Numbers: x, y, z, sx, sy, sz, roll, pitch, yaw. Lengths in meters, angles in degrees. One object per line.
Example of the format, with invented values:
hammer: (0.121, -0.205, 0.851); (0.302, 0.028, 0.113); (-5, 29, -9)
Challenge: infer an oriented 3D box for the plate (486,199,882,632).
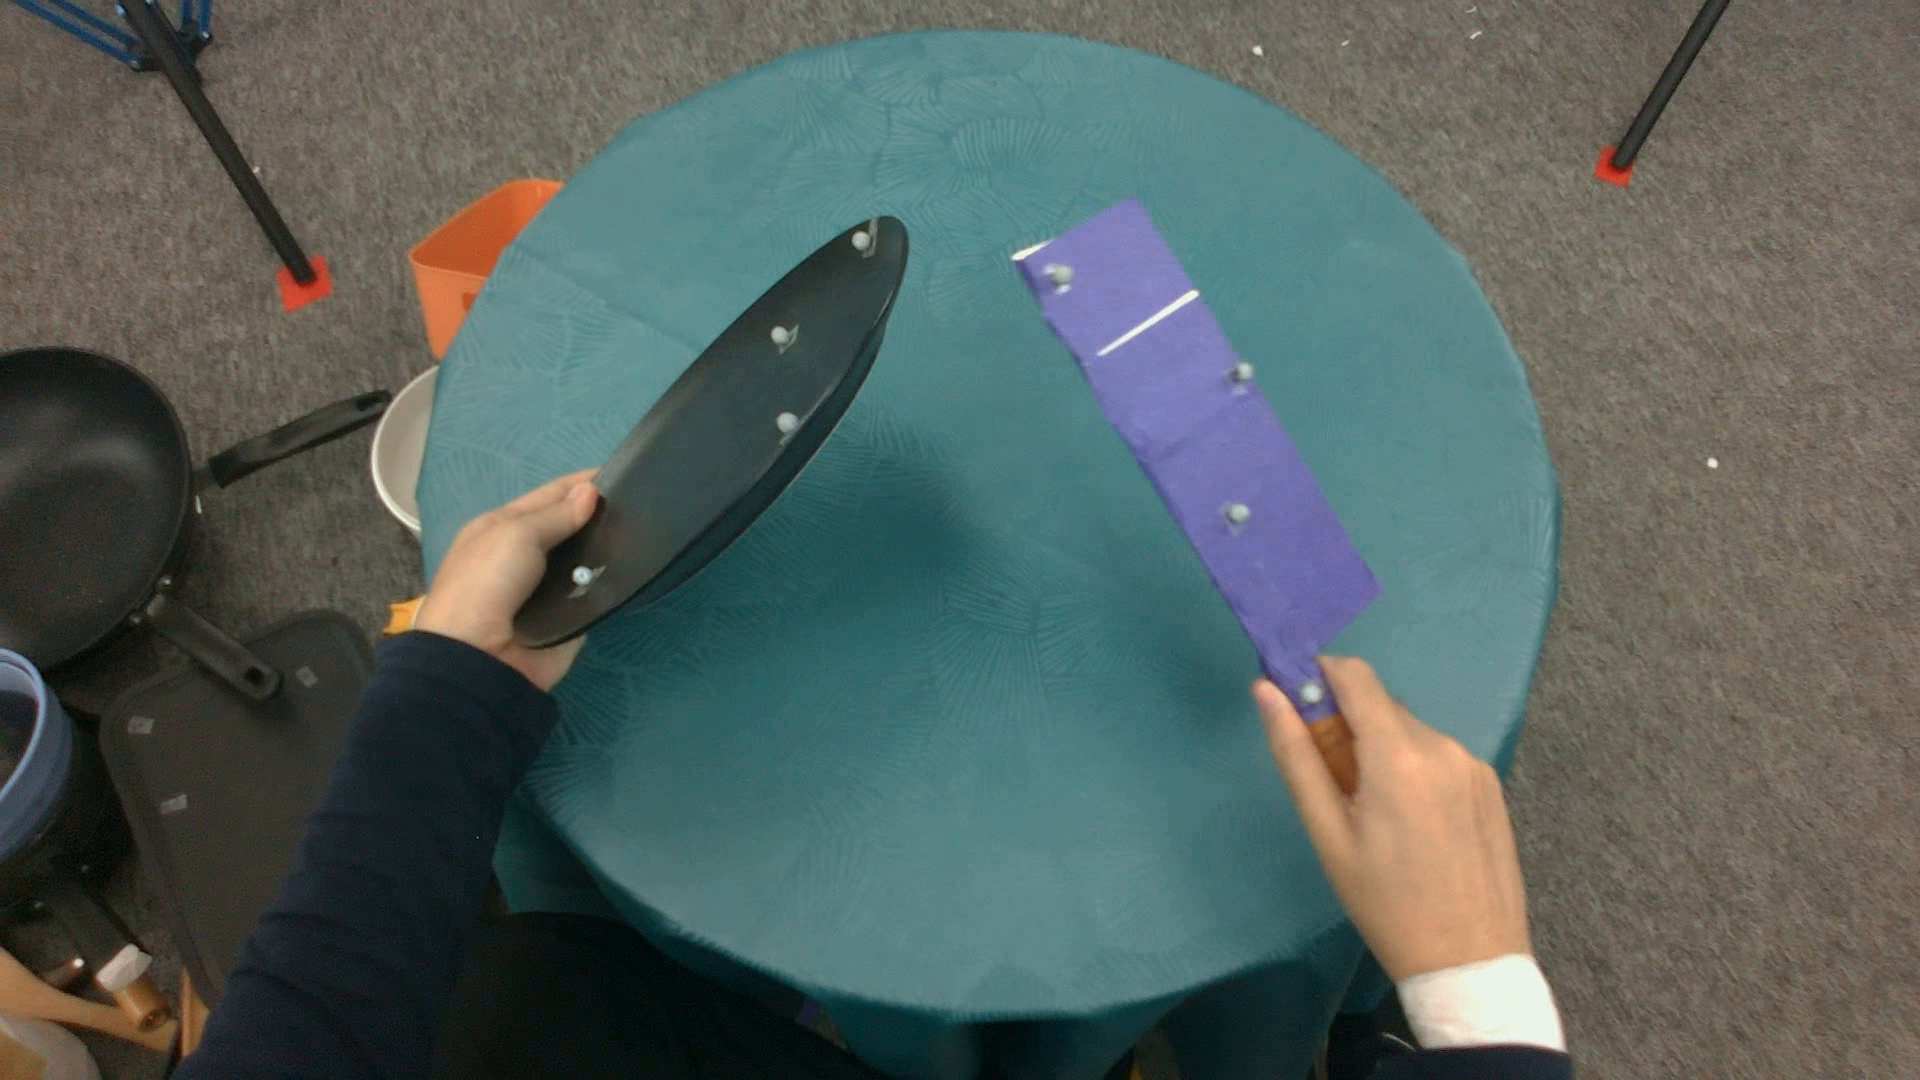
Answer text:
plate: (-0.117, -0.053, 0.600); (0.023, 0.243, 0.245); (43, 62, -24)

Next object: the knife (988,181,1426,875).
knife: (0.124, -0.012, 0.591); (0.104, 0.032, 0.315); (-34, 96, -39)
